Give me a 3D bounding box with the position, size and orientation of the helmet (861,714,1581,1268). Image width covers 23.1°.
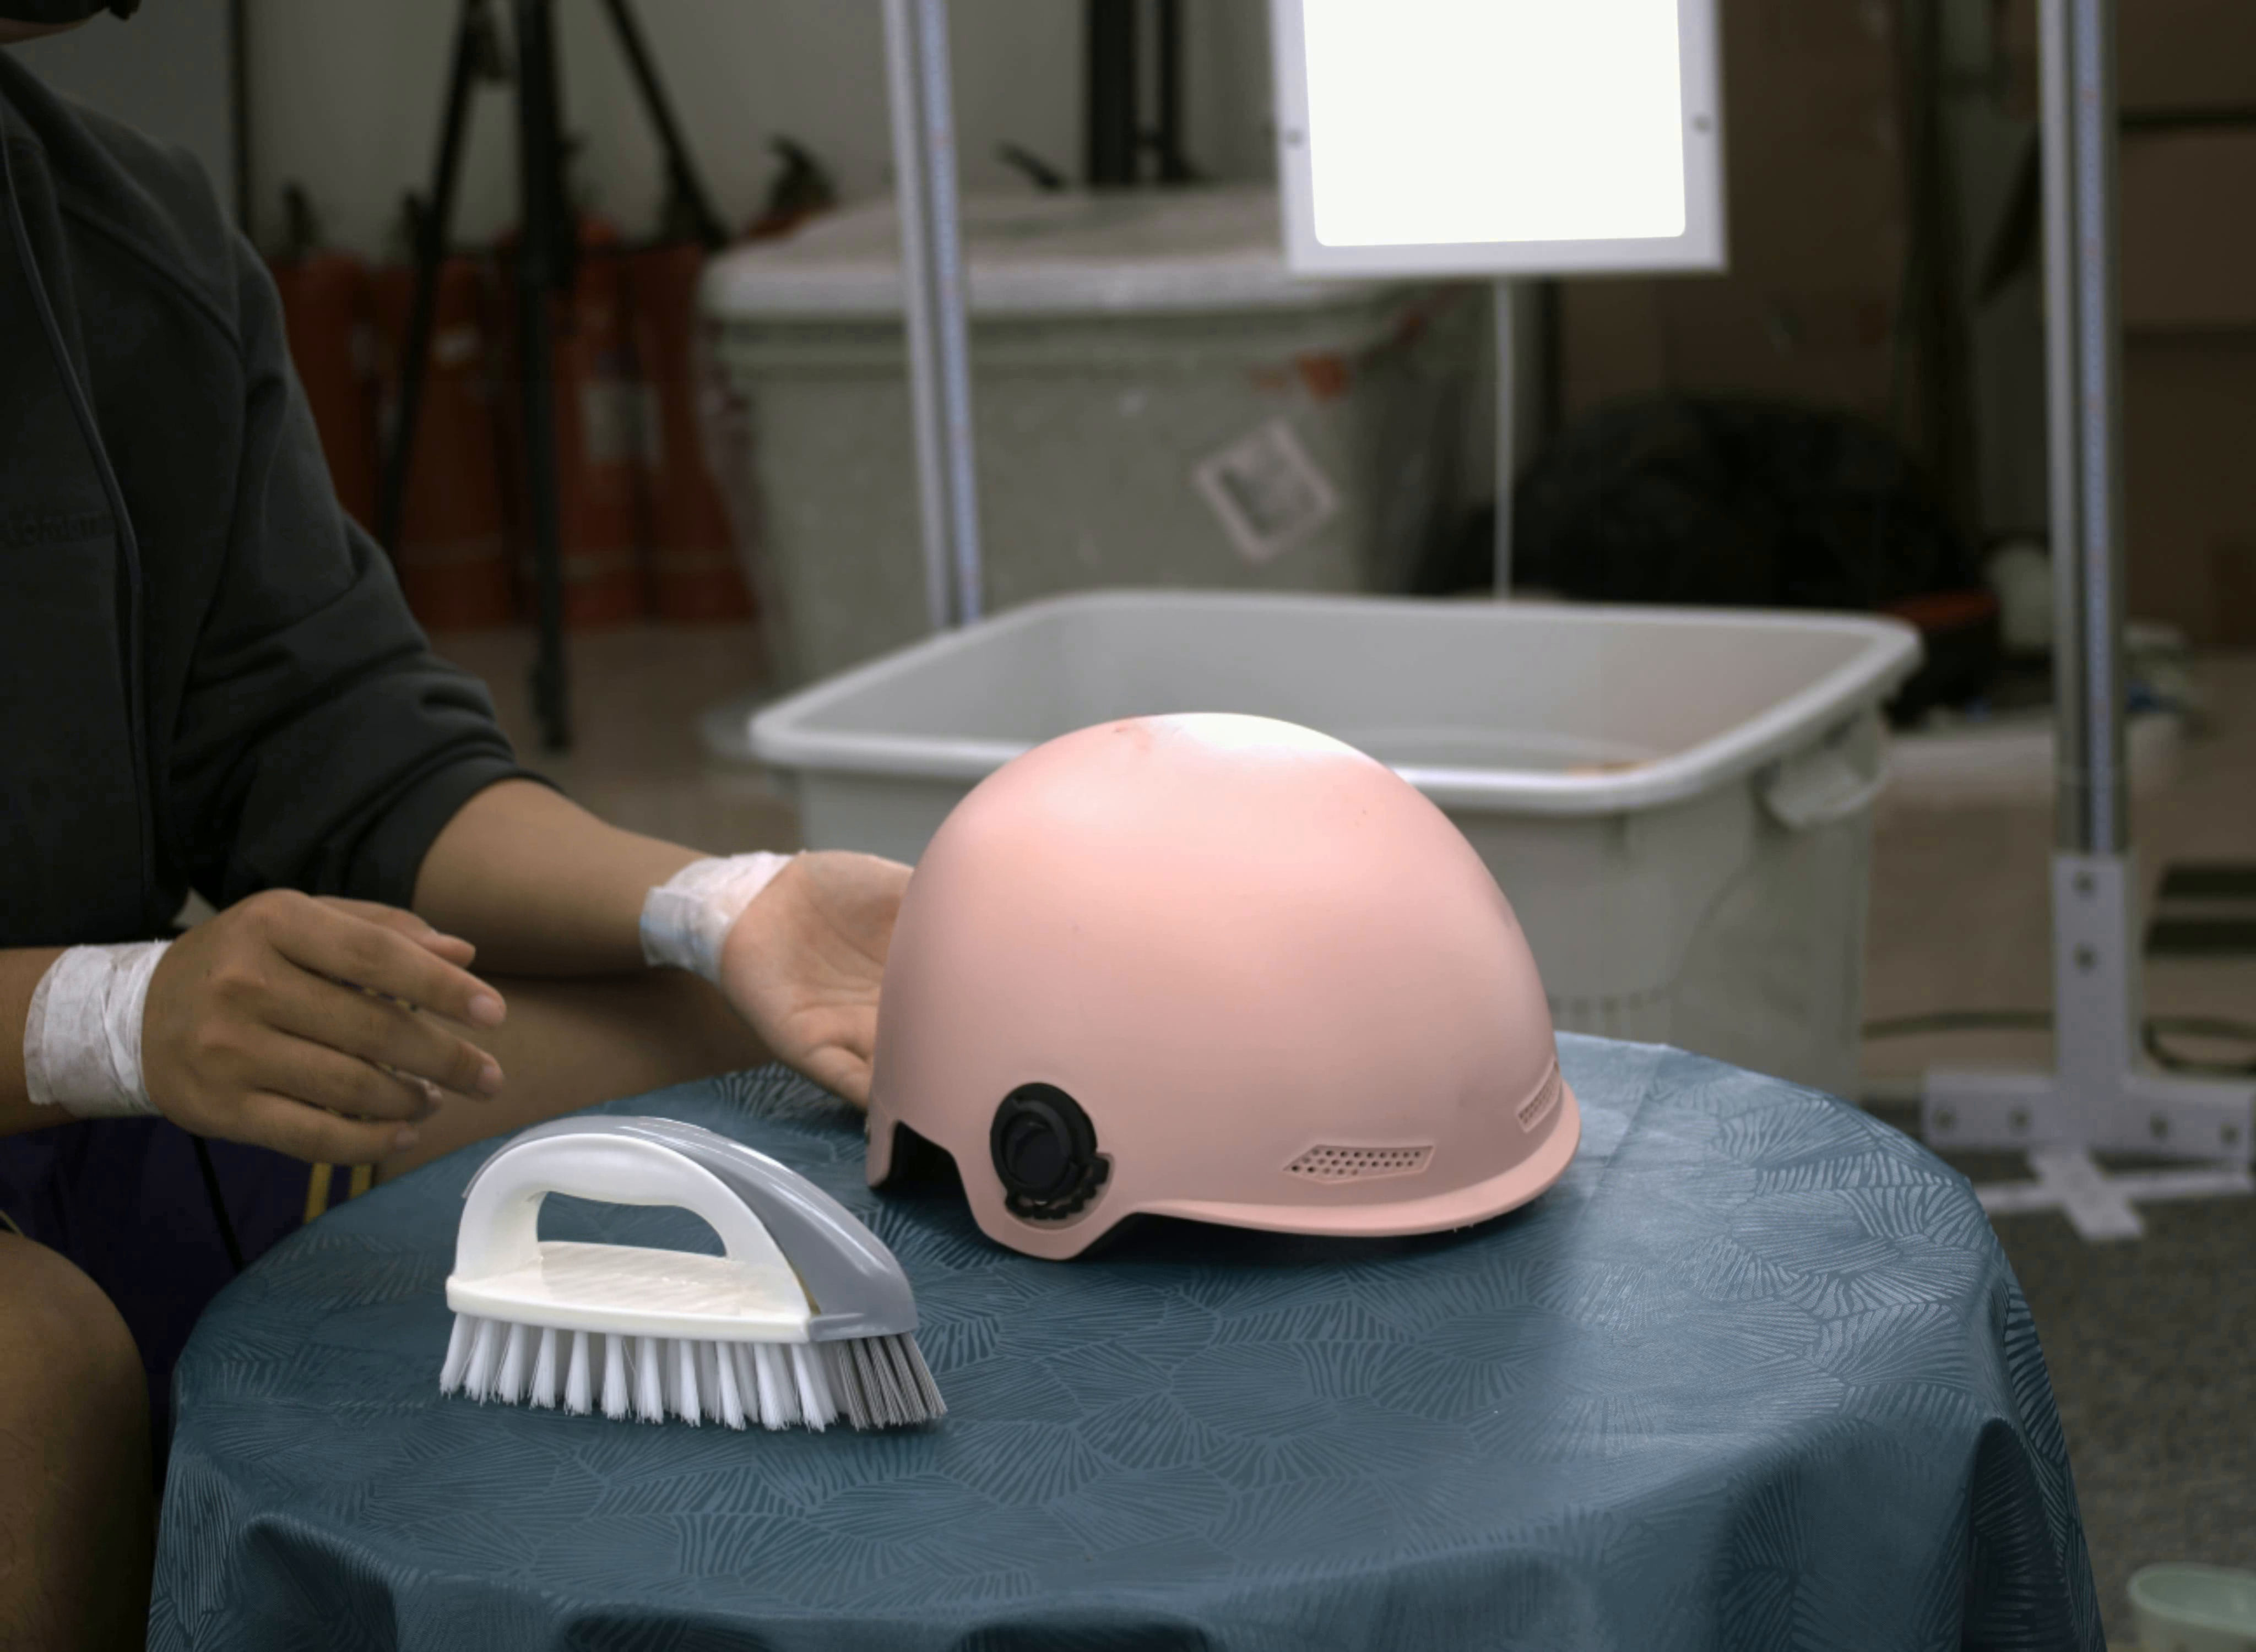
[{"bbox_3d":[0.031,0.046,1.896,0.228,0.159,0.271,-16,21,-40],"label":"helmet"}]

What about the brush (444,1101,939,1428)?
[{"bbox_3d":[-0.136,0.135,1.721,0.179,0.094,0.060,6,18,32],"label":"brush"}]
